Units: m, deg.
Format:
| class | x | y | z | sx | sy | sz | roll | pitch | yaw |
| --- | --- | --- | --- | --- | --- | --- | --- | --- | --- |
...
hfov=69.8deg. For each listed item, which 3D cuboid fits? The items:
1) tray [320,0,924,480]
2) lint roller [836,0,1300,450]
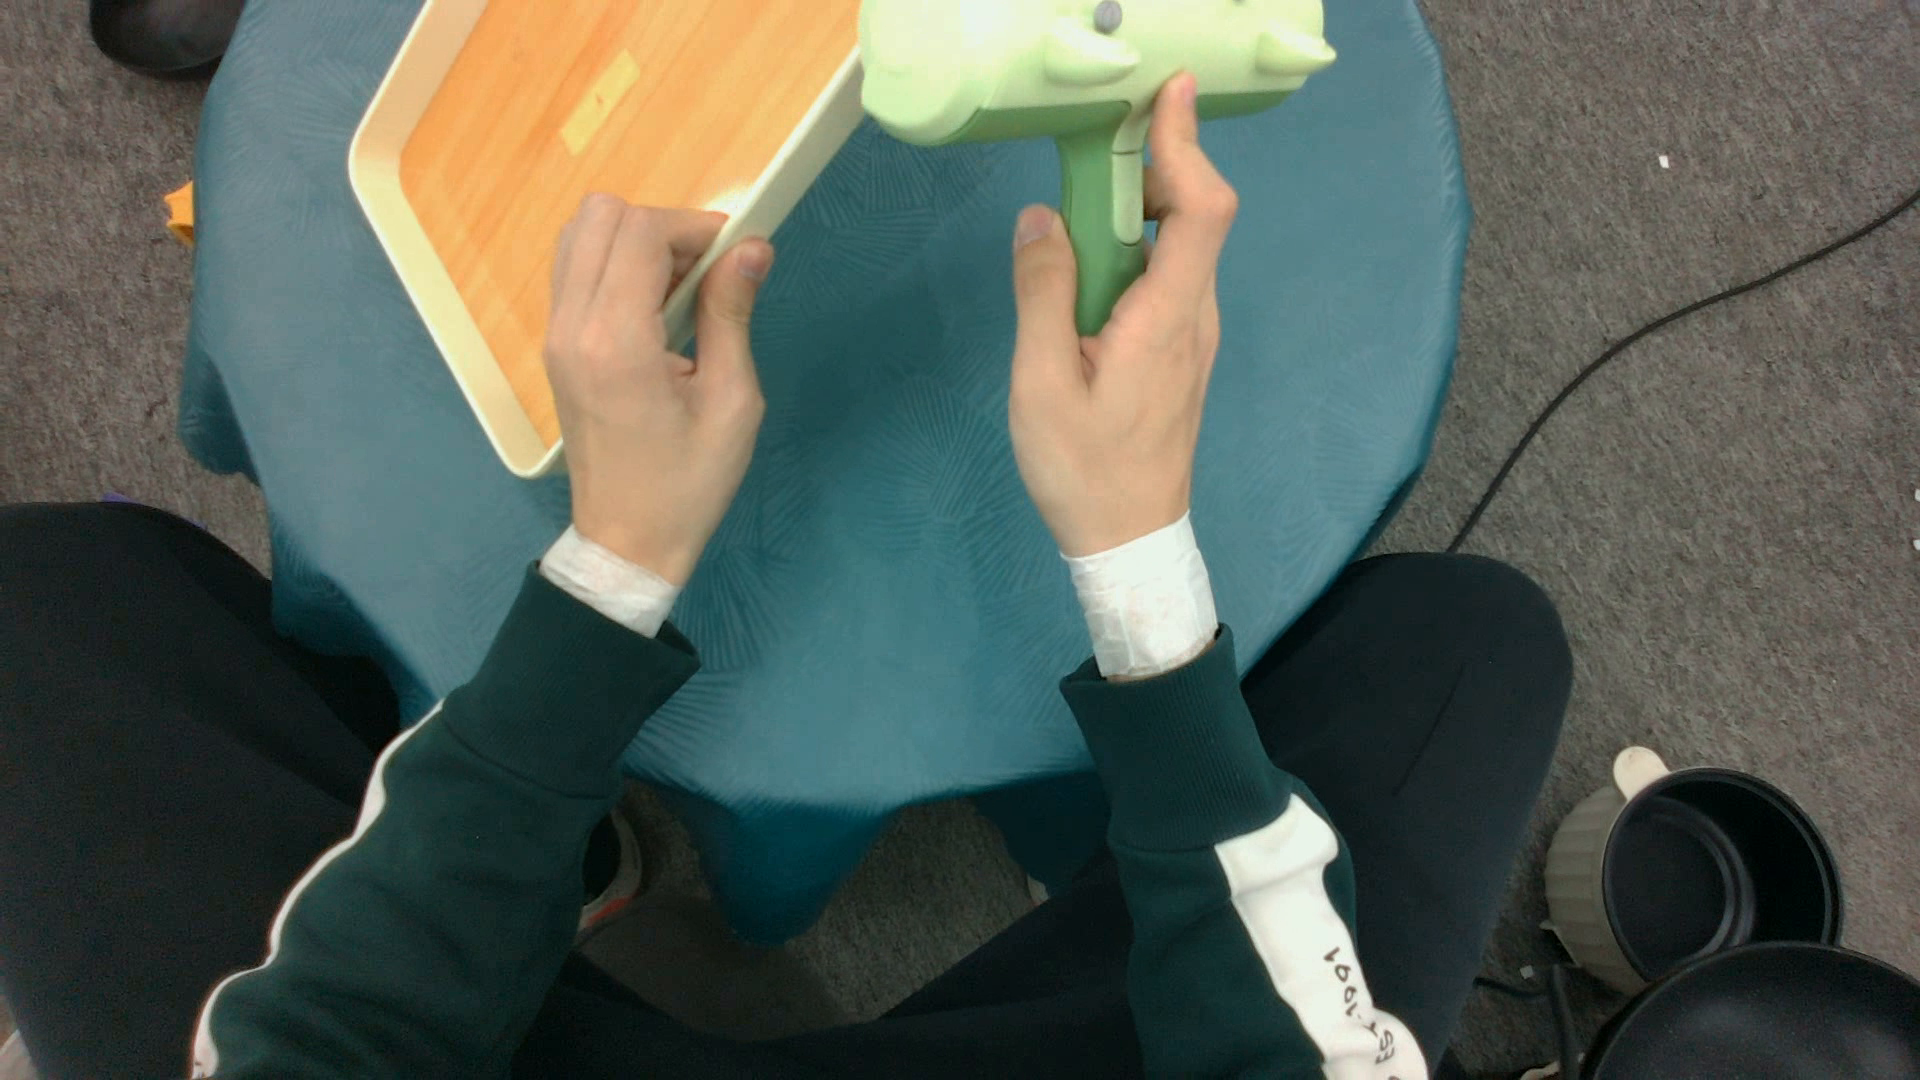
| class | x | y | z | sx | sy | sz | roll | pitch | yaw |
| --- | --- | --- | --- | --- | --- | --- | --- | --- | --- |
| tray | -0.142 | -0.183 | 0.537 | 0.299 | 0.027 | 0.192 | -44 | 72 | 29 |
| lint roller | 0.052 | -0.118 | 0.468 | 0.199 | 0.082 | 0.183 | -23 | 113 | -46 |
